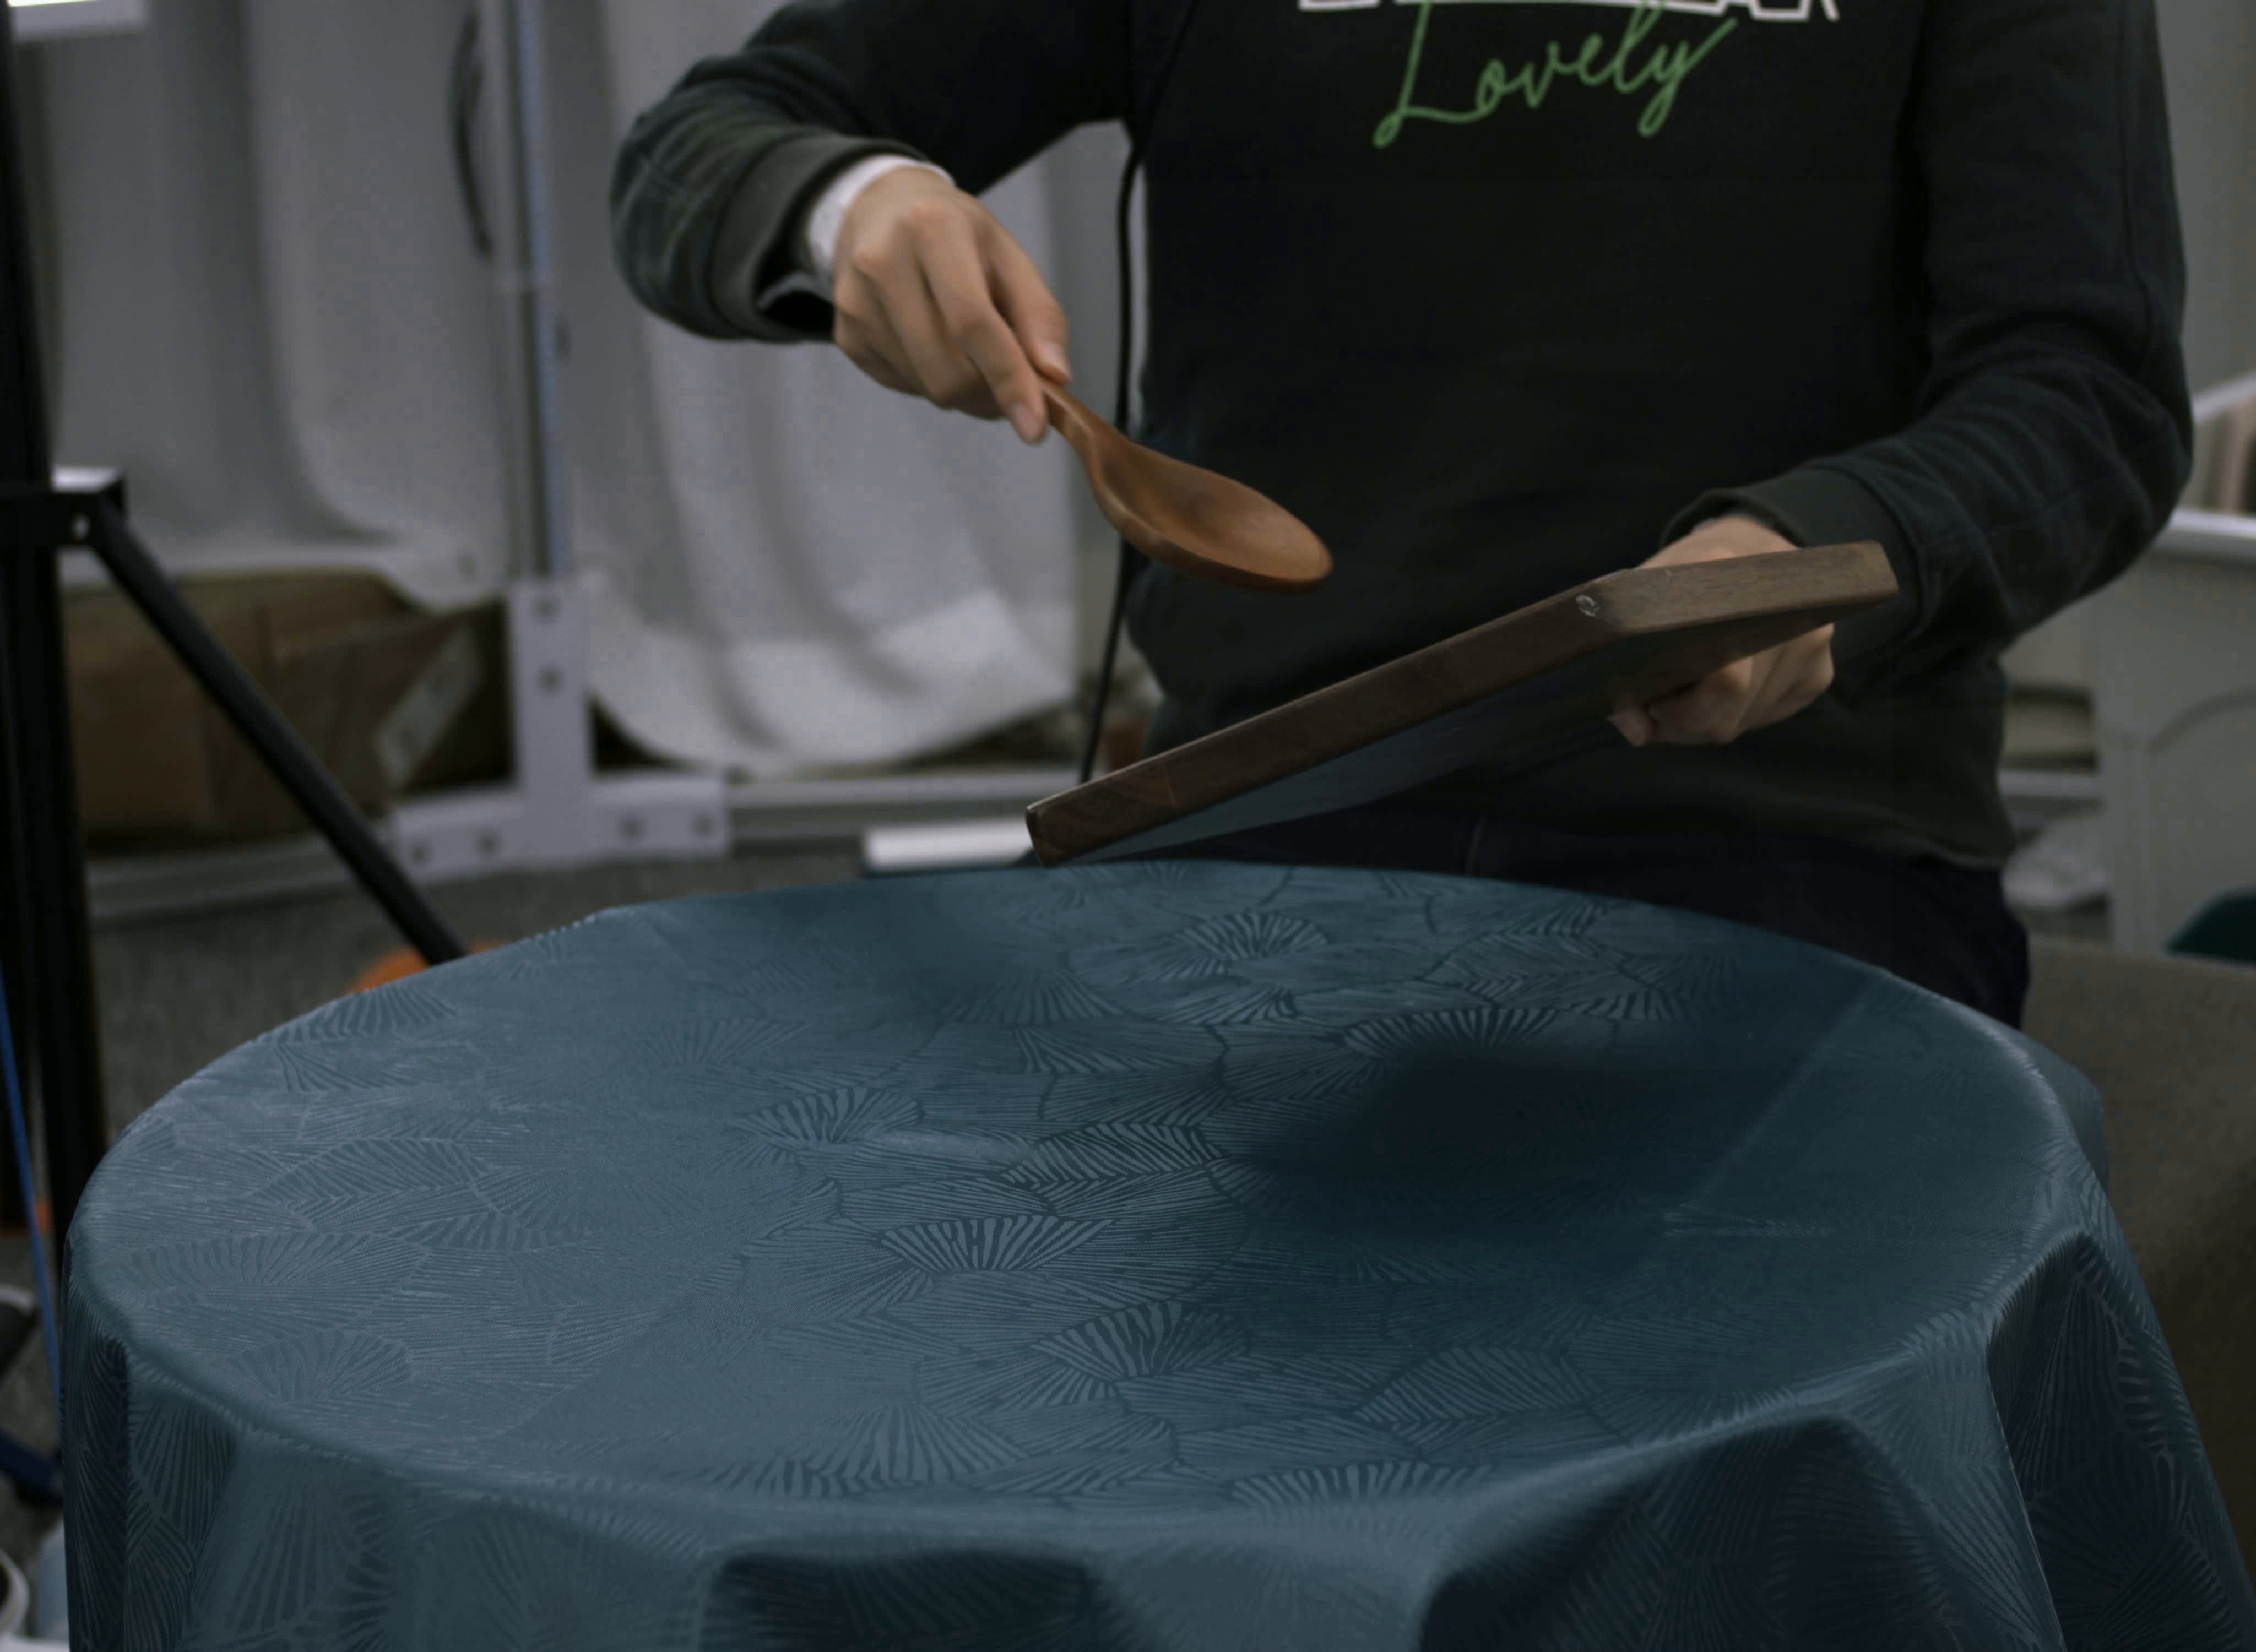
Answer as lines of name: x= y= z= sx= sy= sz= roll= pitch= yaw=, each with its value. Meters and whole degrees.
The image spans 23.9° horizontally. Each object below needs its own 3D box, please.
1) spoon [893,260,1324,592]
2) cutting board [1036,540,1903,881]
spoon: x=-0.013 y=-0.128 z=1.735 sx=0.073 sy=0.017 sz=0.221 roll=-4 pitch=34 yaw=-37
cutting board: x=0.126 y=-0.039 z=1.607 sx=0.203 sy=0.023 sz=0.345 roll=-23 pitch=-5 yaw=25
